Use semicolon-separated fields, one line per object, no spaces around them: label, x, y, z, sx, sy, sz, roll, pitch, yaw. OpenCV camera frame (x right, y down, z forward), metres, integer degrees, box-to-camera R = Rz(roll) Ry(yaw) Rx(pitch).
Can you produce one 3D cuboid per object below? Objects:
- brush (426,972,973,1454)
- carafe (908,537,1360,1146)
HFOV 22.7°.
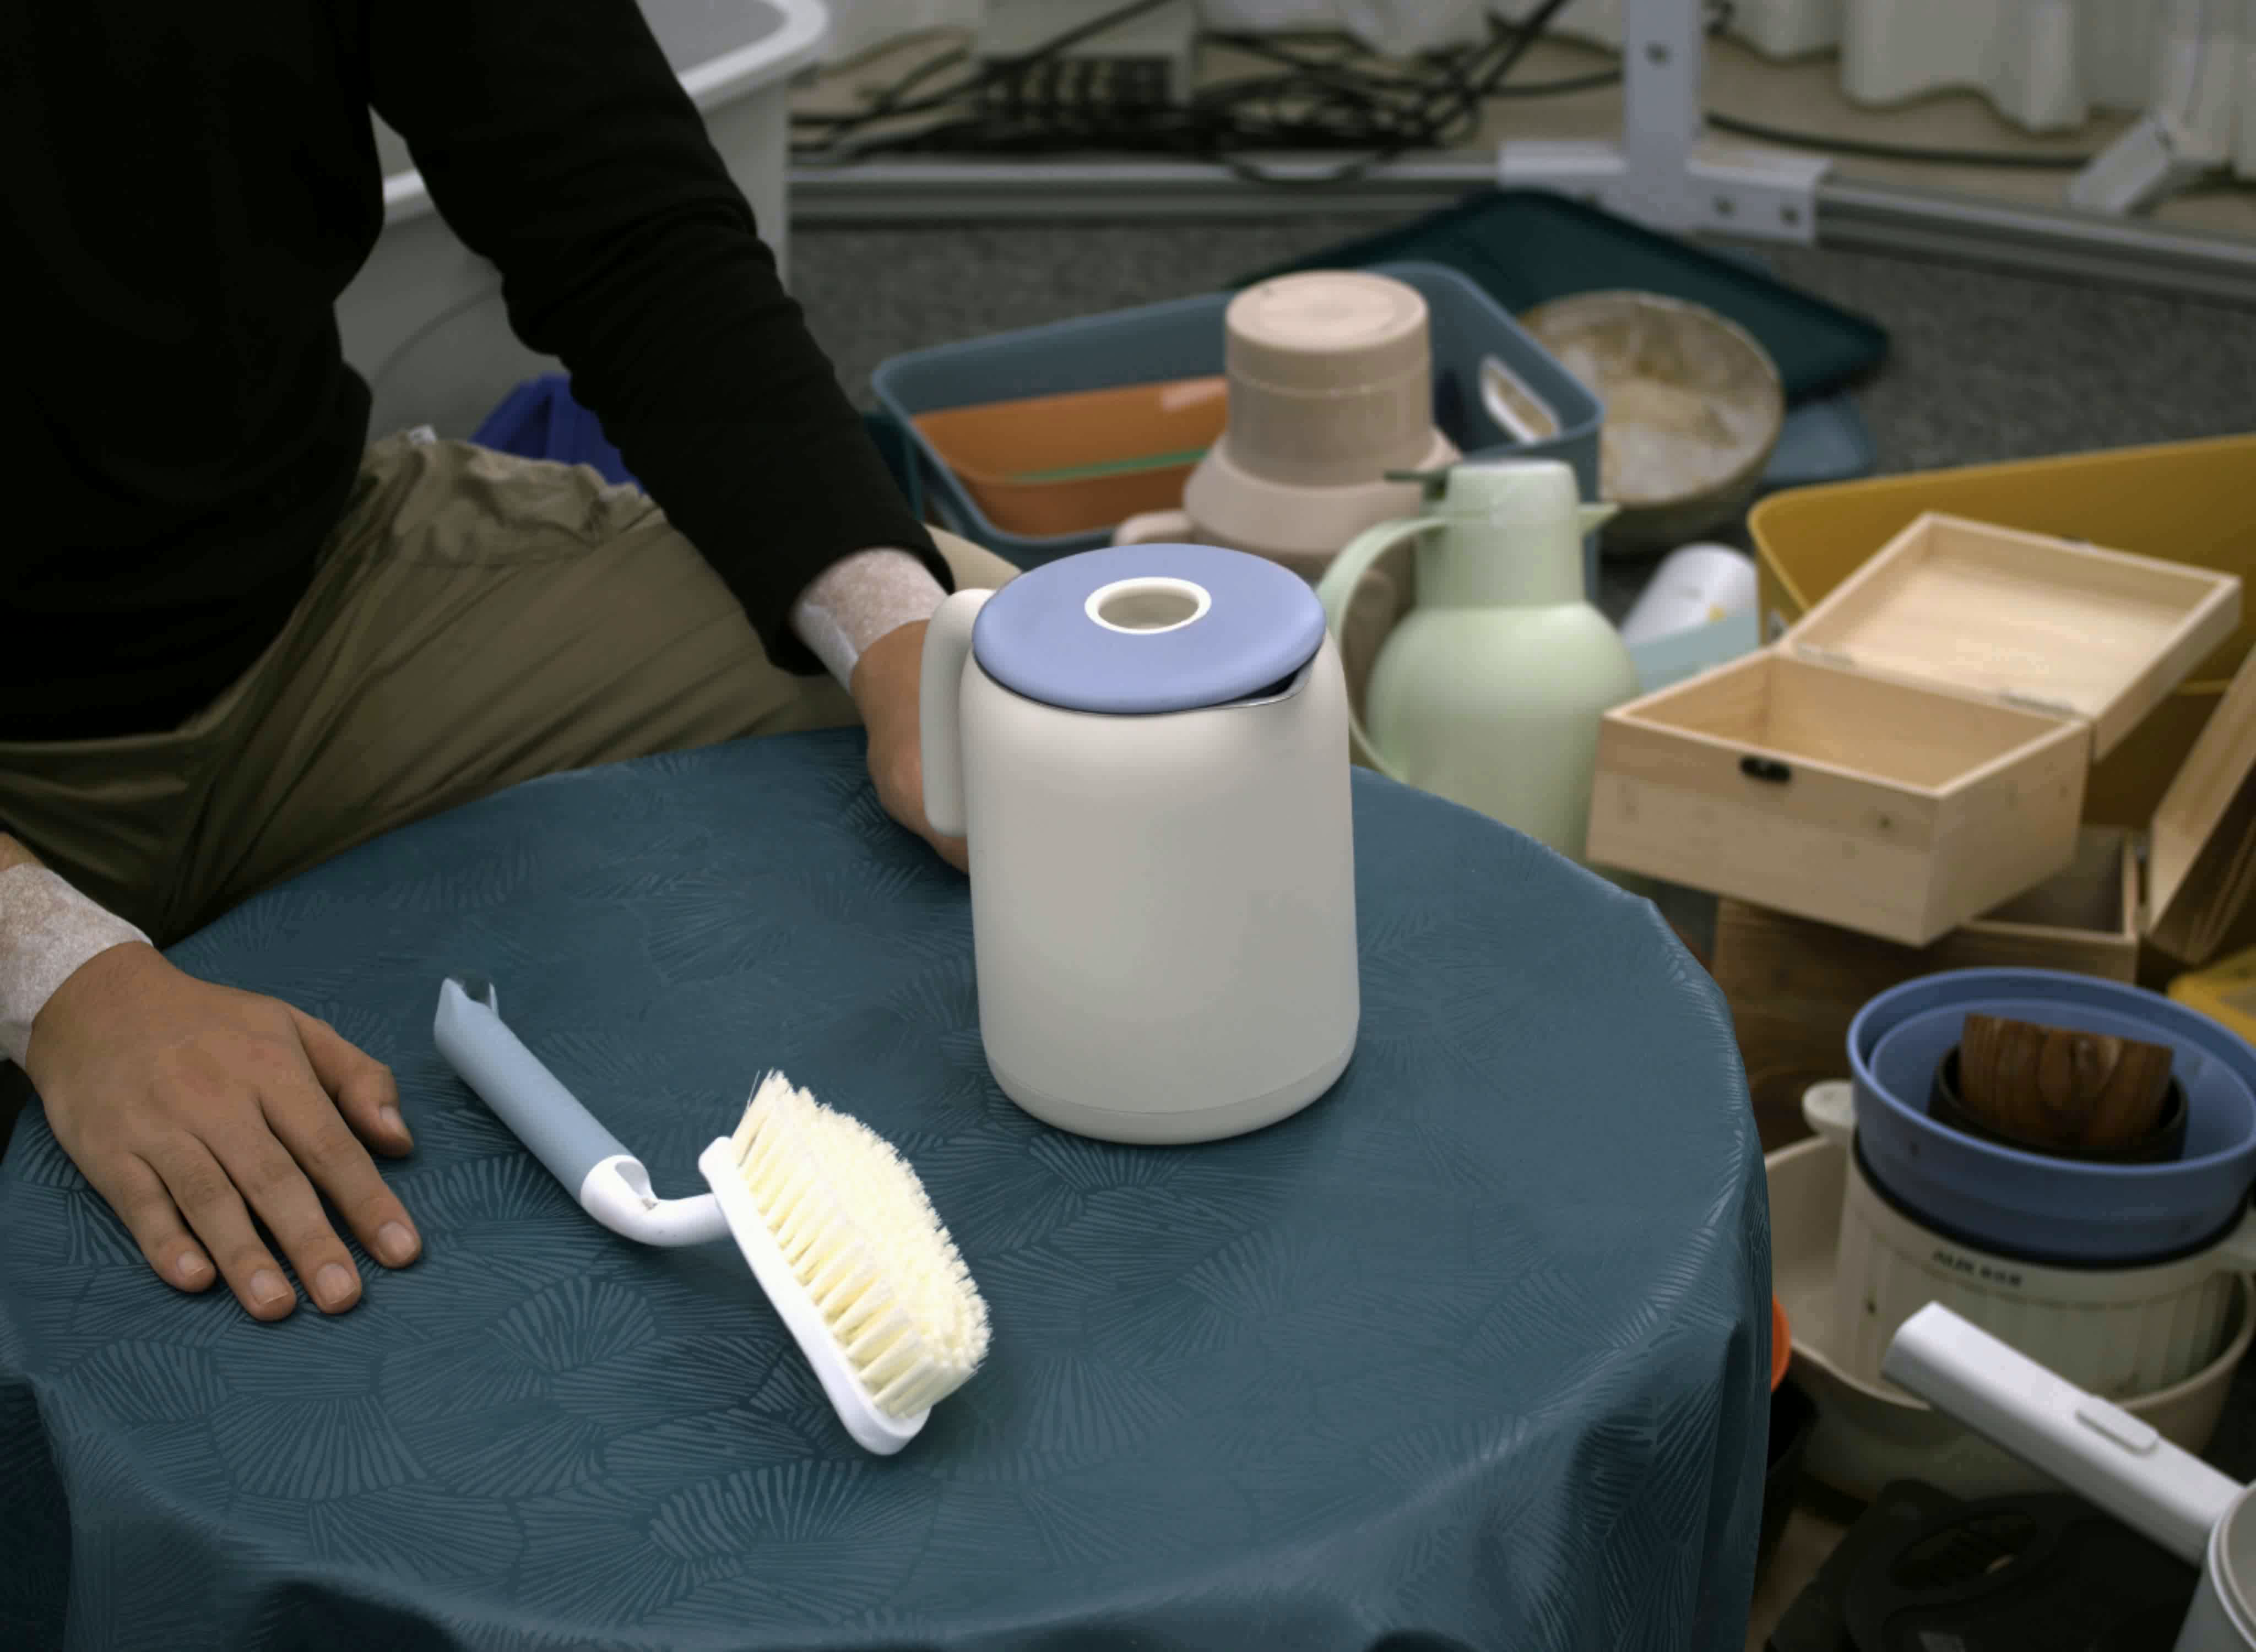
brush;-0.140;0.096;1.837;0.085;0.082;0.327;-23;34;-21
carafe;-0.006;-0.003;1.917;0.134;0.181;0.191;-25;33;-38
